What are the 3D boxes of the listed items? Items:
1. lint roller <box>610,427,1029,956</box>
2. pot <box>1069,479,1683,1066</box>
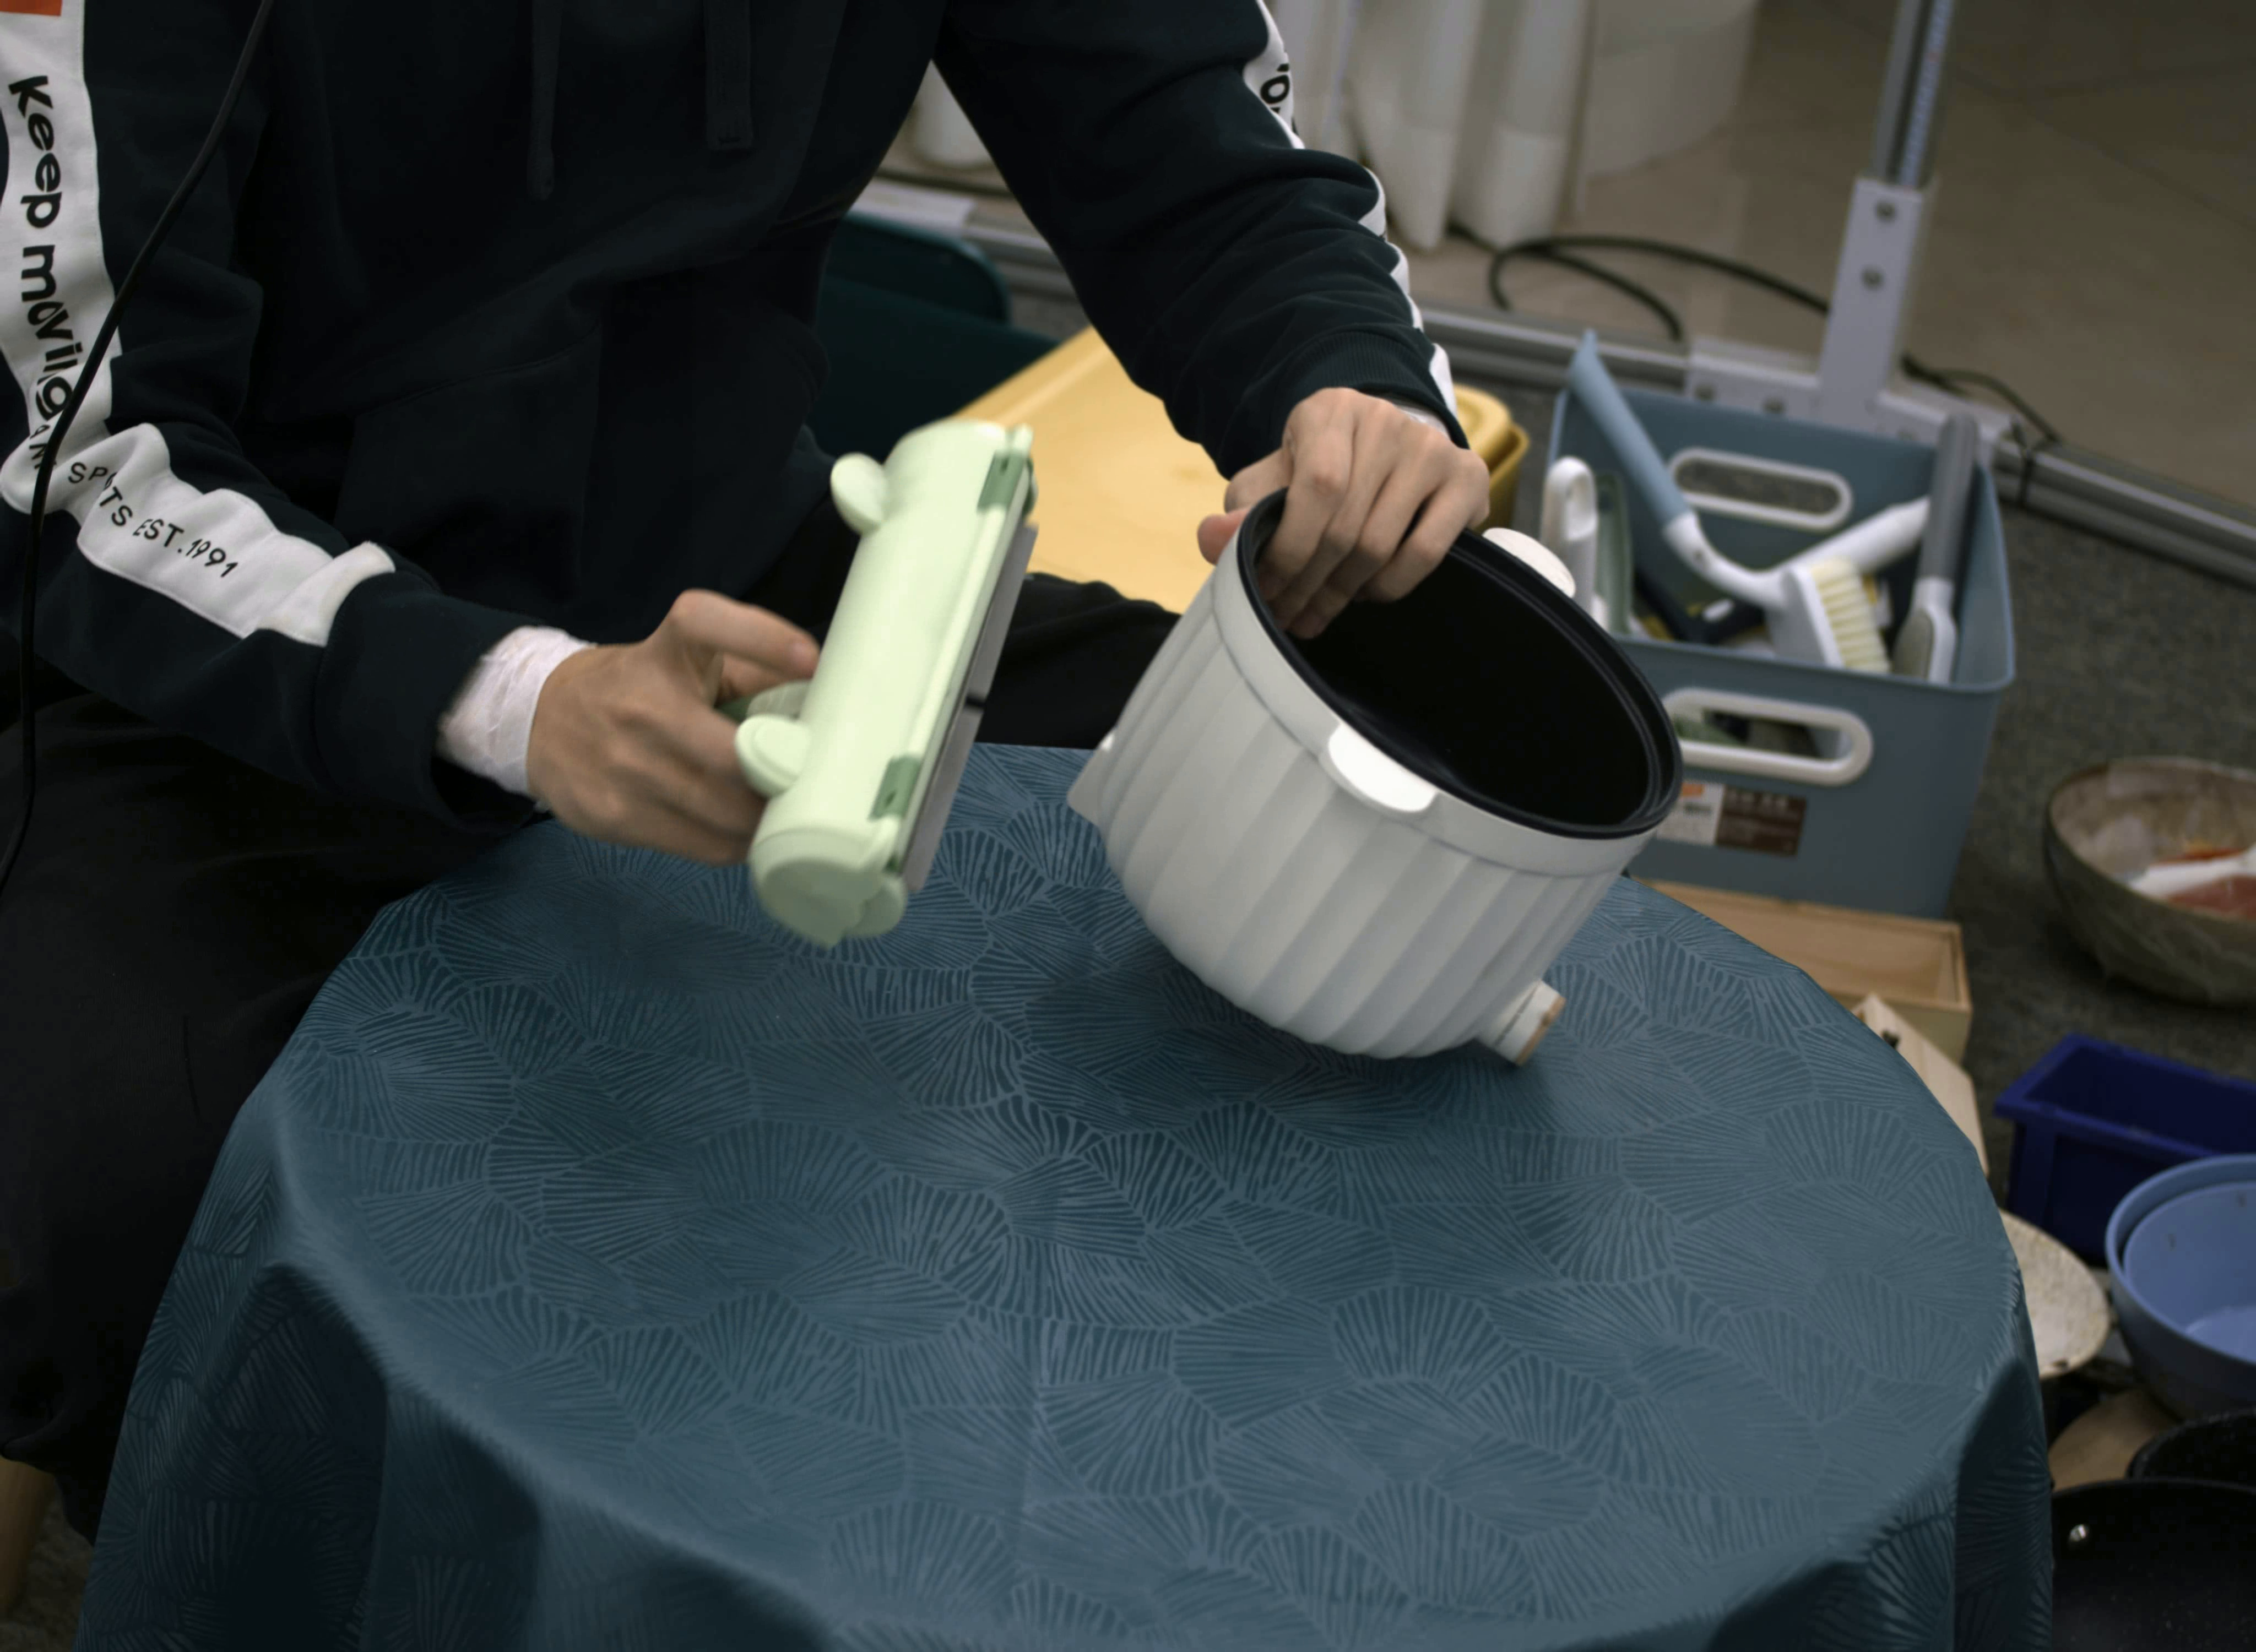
[{"bbox_3d":[-0.127,-0.042,1.817,0.184,0.081,0.200,-14,43,36],"label":"lint roller"},{"bbox_3d":[0.090,-0.009,1.887,0.190,0.142,0.240,32,30,4],"label":"pot"}]
